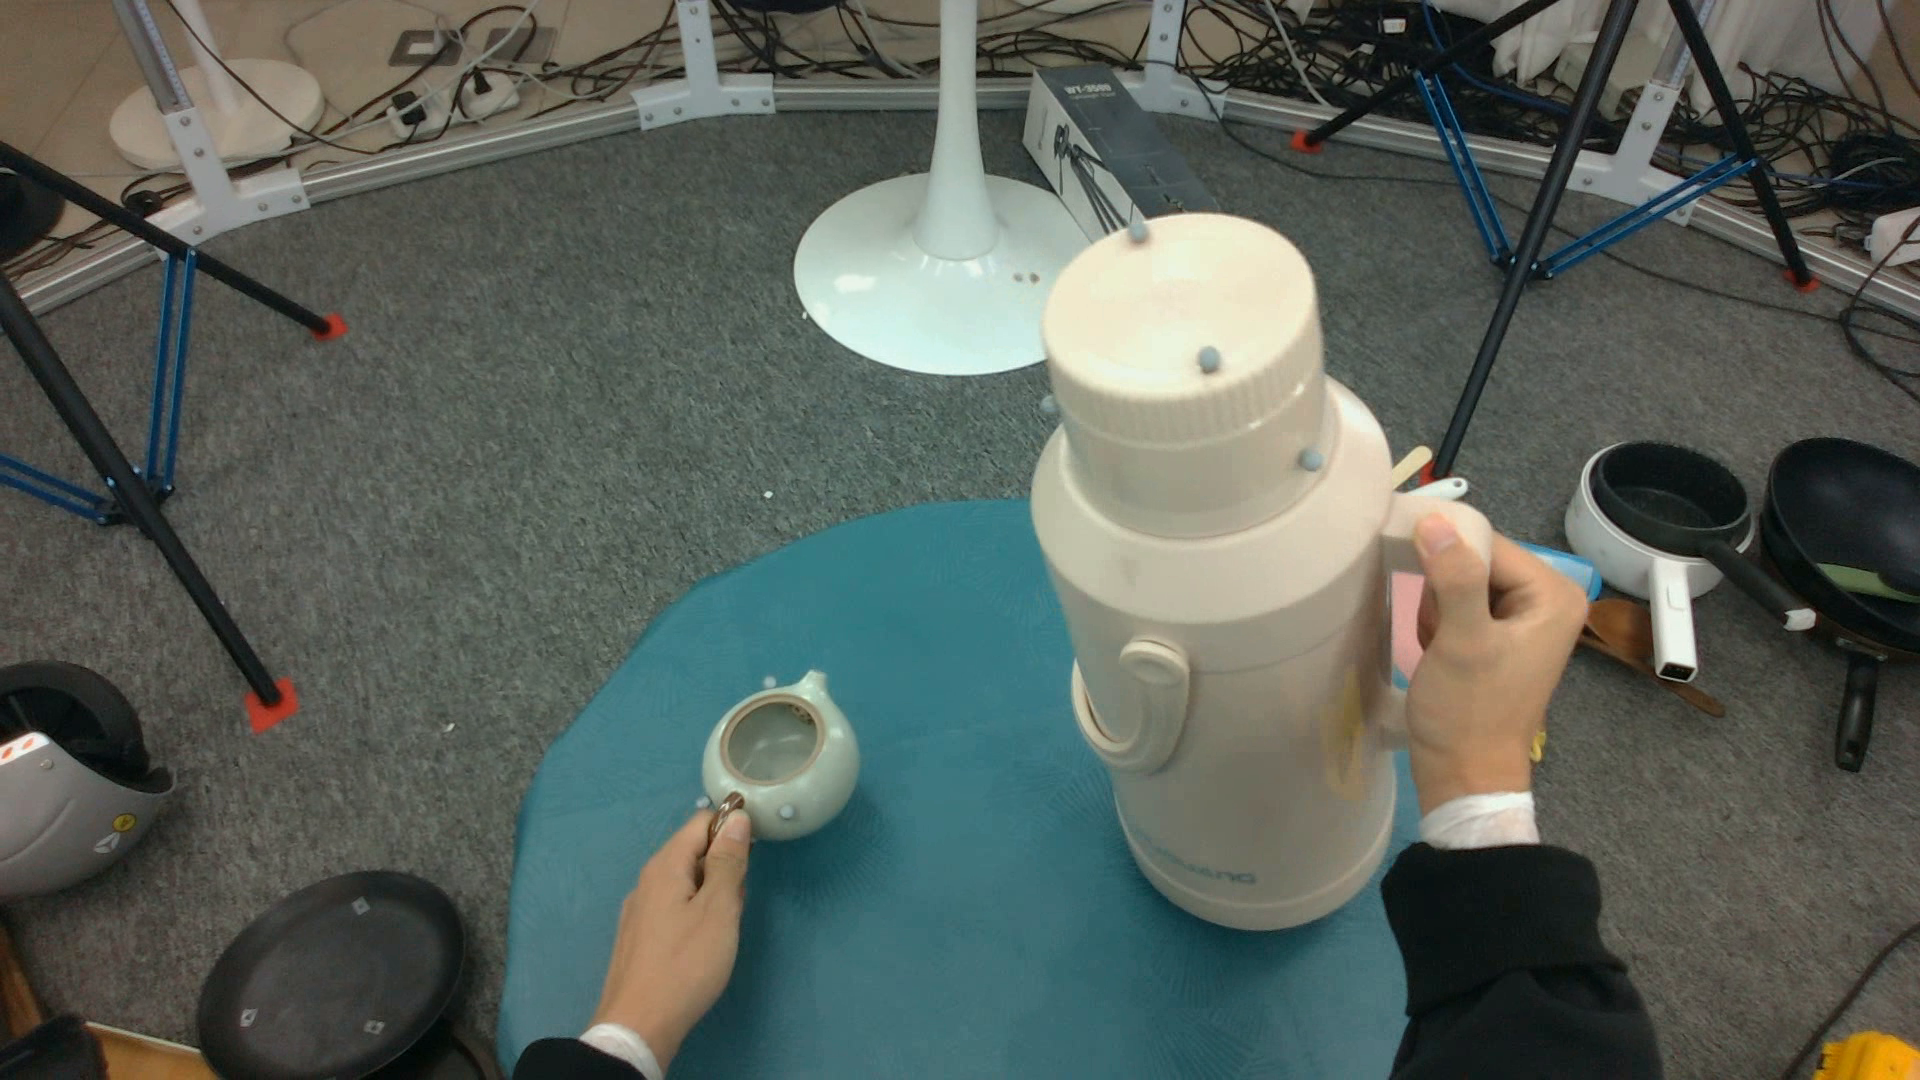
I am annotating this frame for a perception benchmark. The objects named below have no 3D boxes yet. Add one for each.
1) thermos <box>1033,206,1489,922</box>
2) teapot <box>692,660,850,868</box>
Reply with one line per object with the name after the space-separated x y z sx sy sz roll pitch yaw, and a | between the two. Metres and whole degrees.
0.142 0.034 0.669 0.207 0.405 0.176 10 53 23 | thermos
-0.114 0.133 0.801 0.092 0.059 0.128 17 54 17 | teapot
